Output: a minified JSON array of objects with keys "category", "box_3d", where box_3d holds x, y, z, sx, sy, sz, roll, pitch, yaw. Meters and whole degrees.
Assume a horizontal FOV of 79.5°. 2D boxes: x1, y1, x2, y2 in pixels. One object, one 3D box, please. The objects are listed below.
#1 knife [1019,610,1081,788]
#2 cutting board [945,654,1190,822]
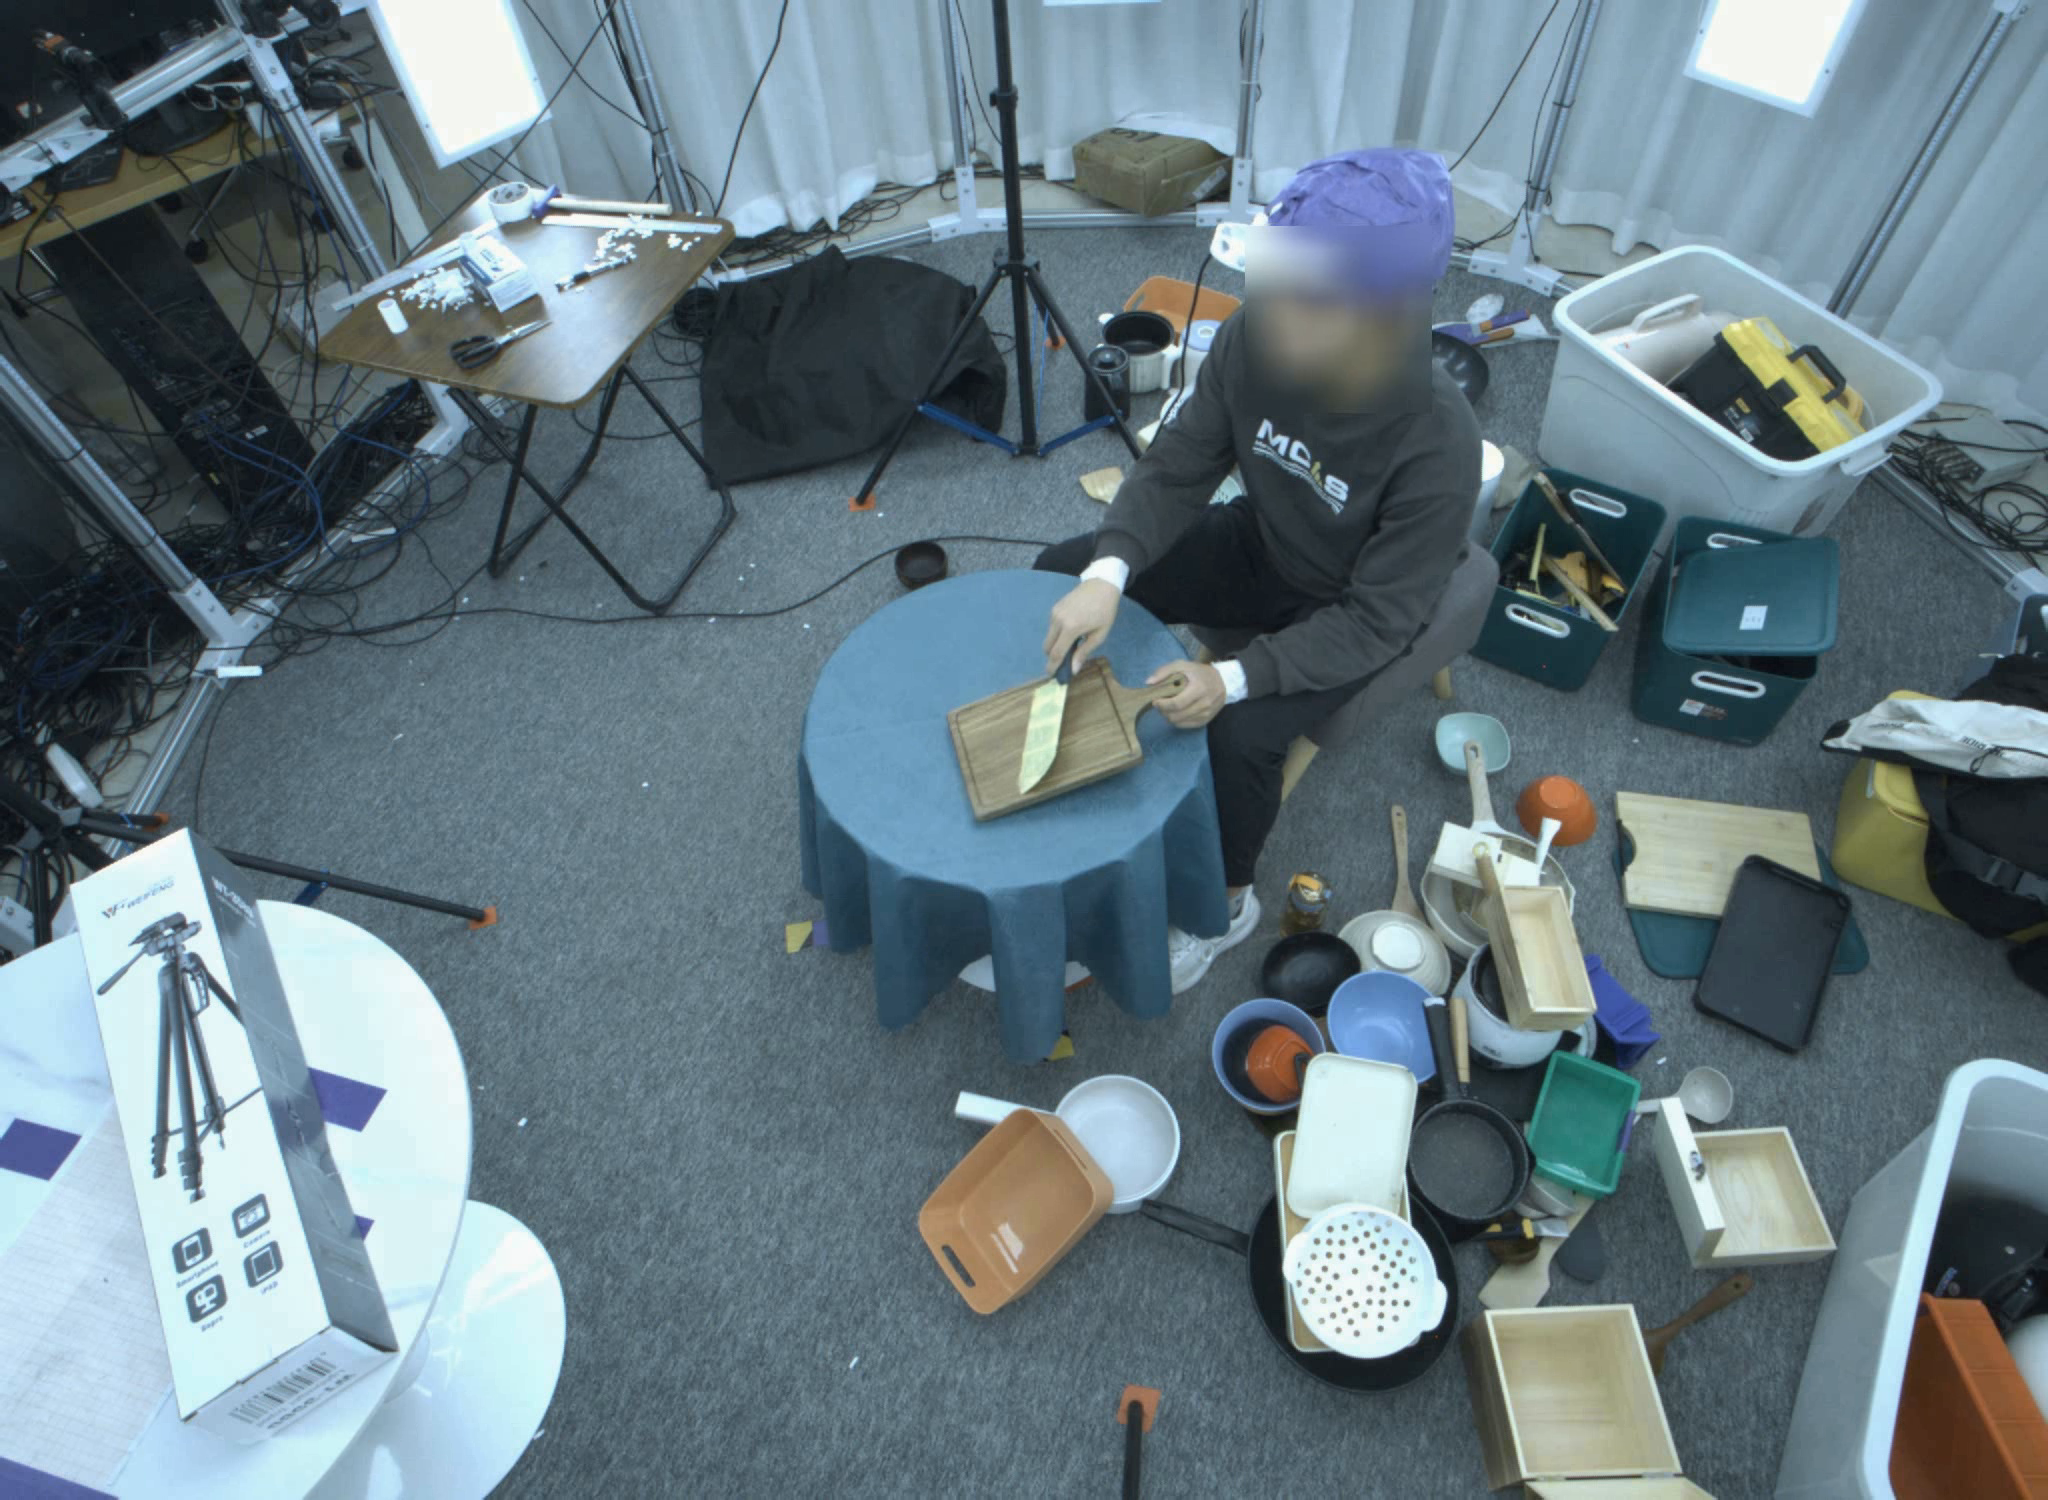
[{"category":"knife","box_3d":[0.036,-0.075,1.760,0.079,0.028,0.288,-14,54,46]},{"category":"cutting board","box_3d":[0.072,-0.037,1.766,0.352,0.023,0.198,-20,56,1]}]
